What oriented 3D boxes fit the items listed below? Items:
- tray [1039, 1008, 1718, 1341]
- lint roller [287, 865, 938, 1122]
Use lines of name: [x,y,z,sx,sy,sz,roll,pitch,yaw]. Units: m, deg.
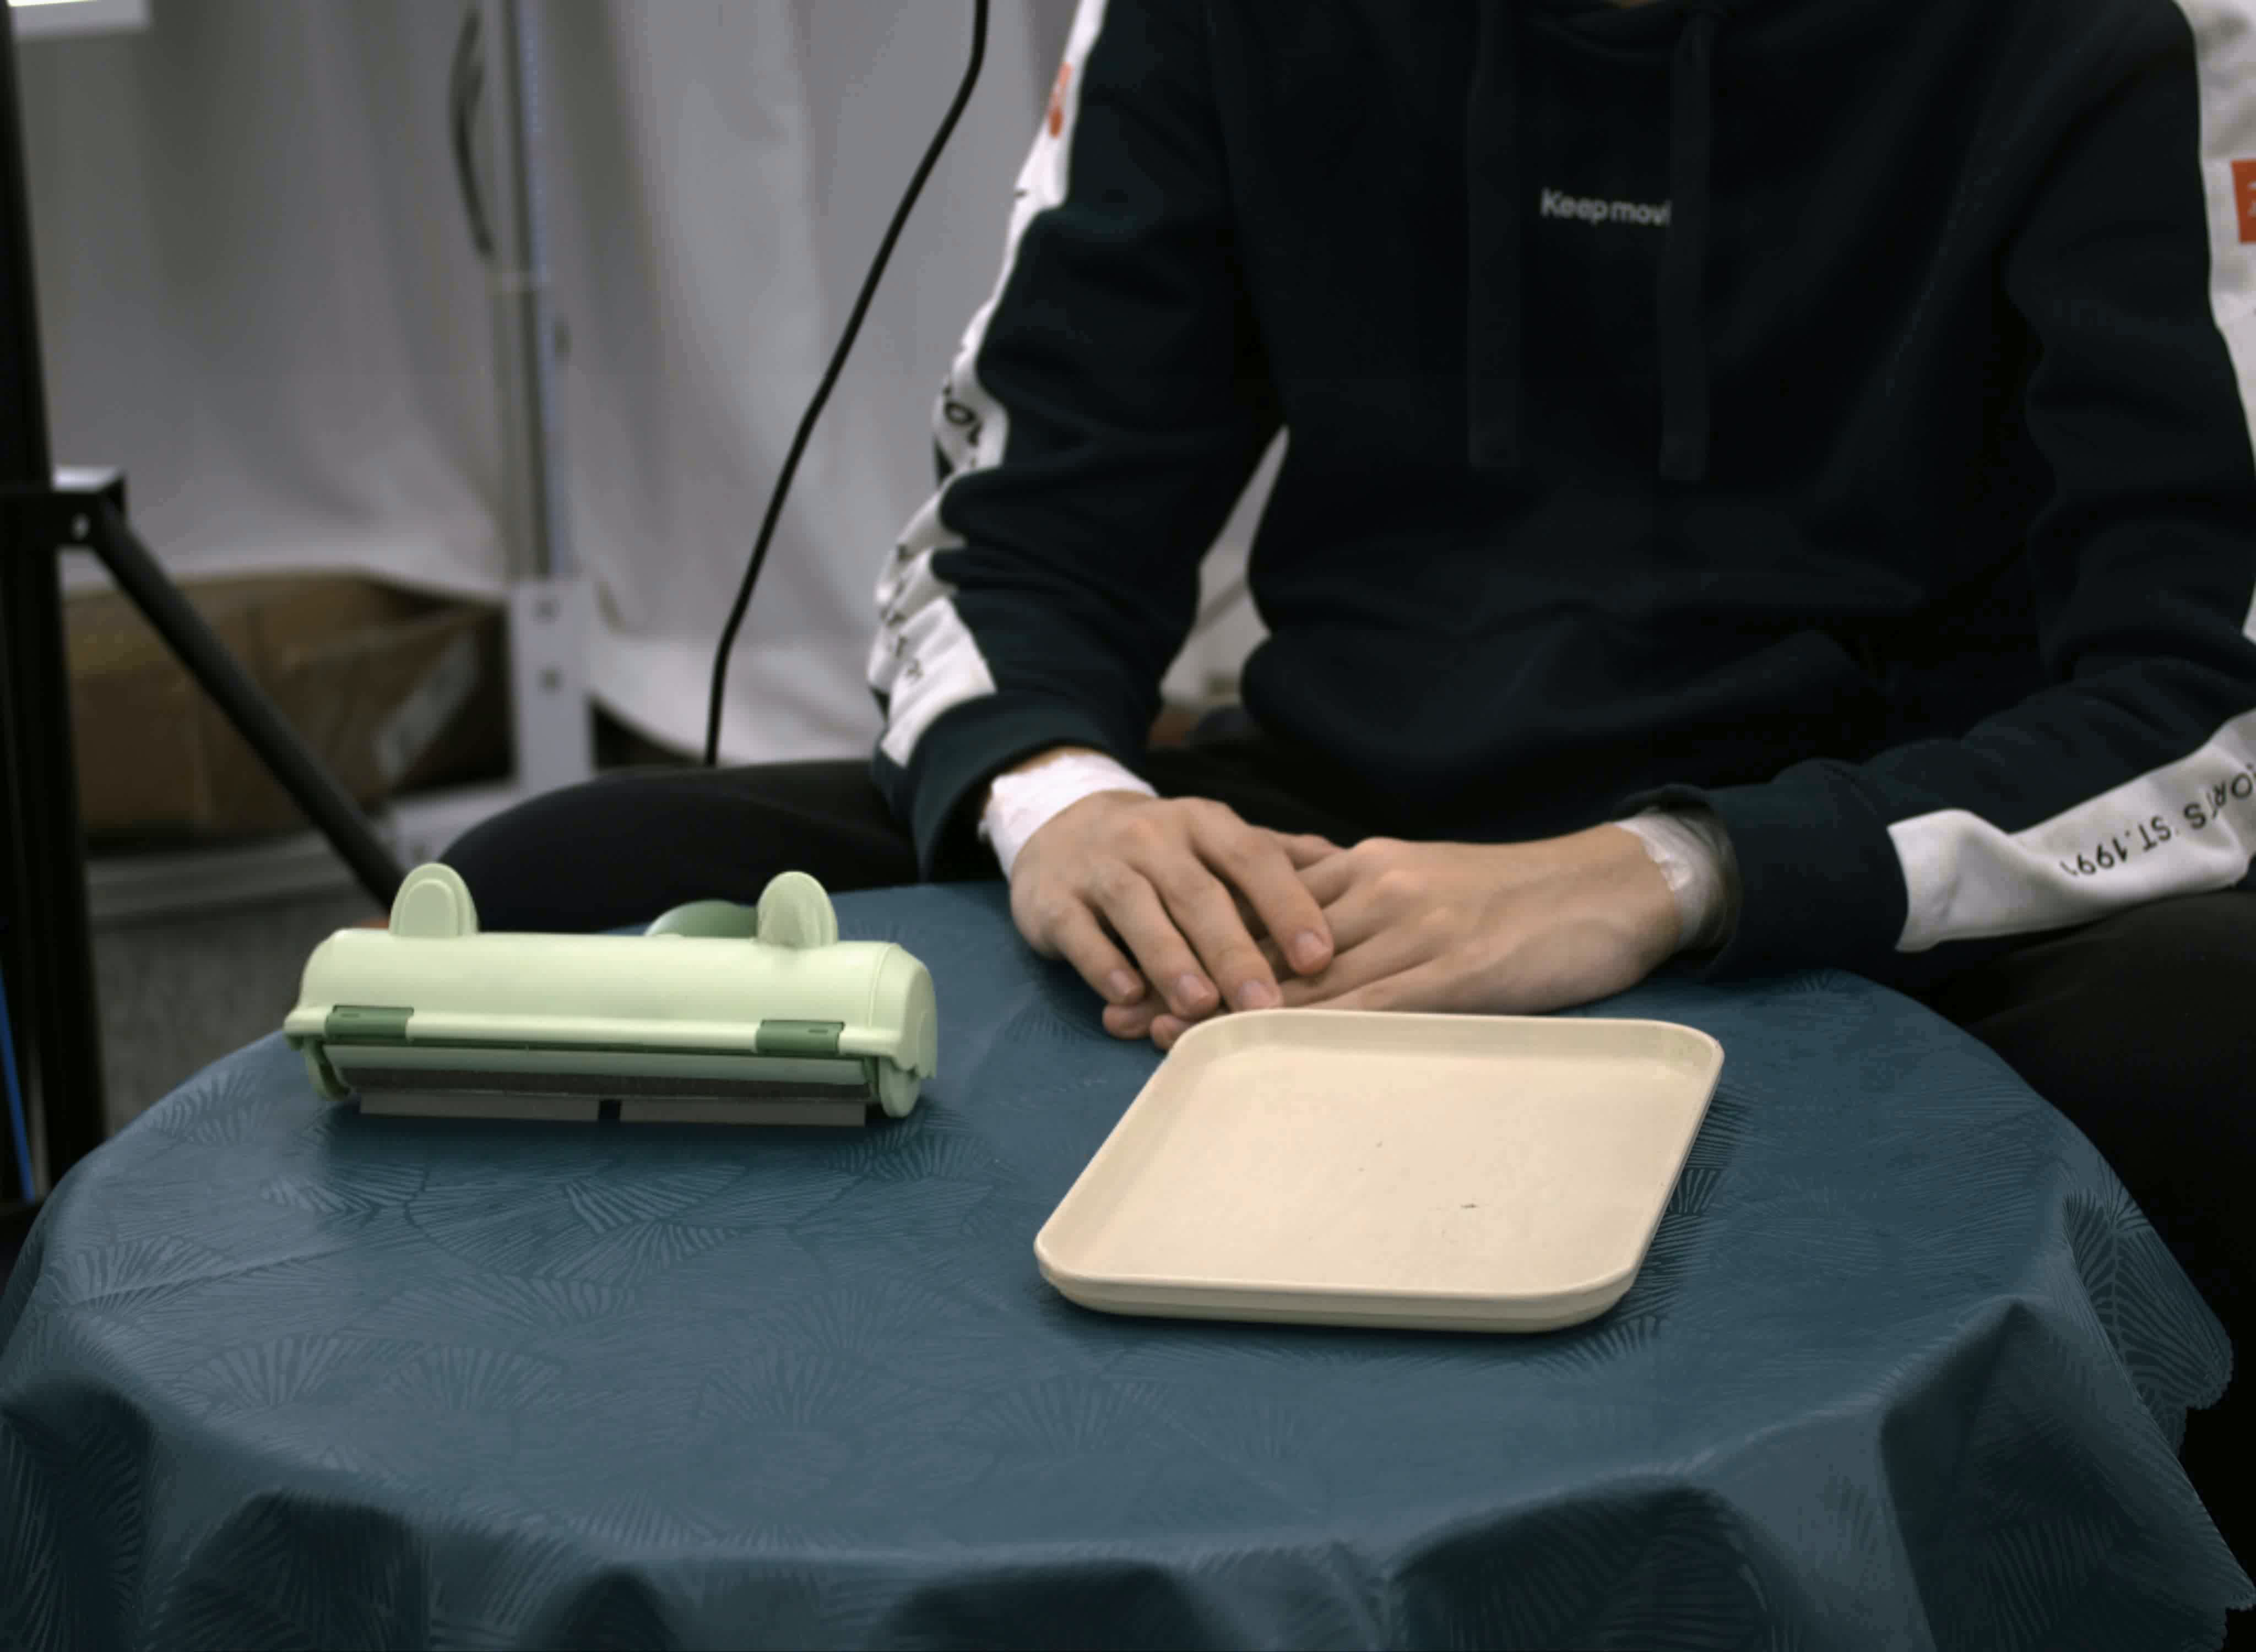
tray: [0.077,0.100,1.541,0.172,0.017,0.238,2,17,14]
lint roller: [-0.148,0.036,1.698,0.200,0.082,0.182,1,20,13]
